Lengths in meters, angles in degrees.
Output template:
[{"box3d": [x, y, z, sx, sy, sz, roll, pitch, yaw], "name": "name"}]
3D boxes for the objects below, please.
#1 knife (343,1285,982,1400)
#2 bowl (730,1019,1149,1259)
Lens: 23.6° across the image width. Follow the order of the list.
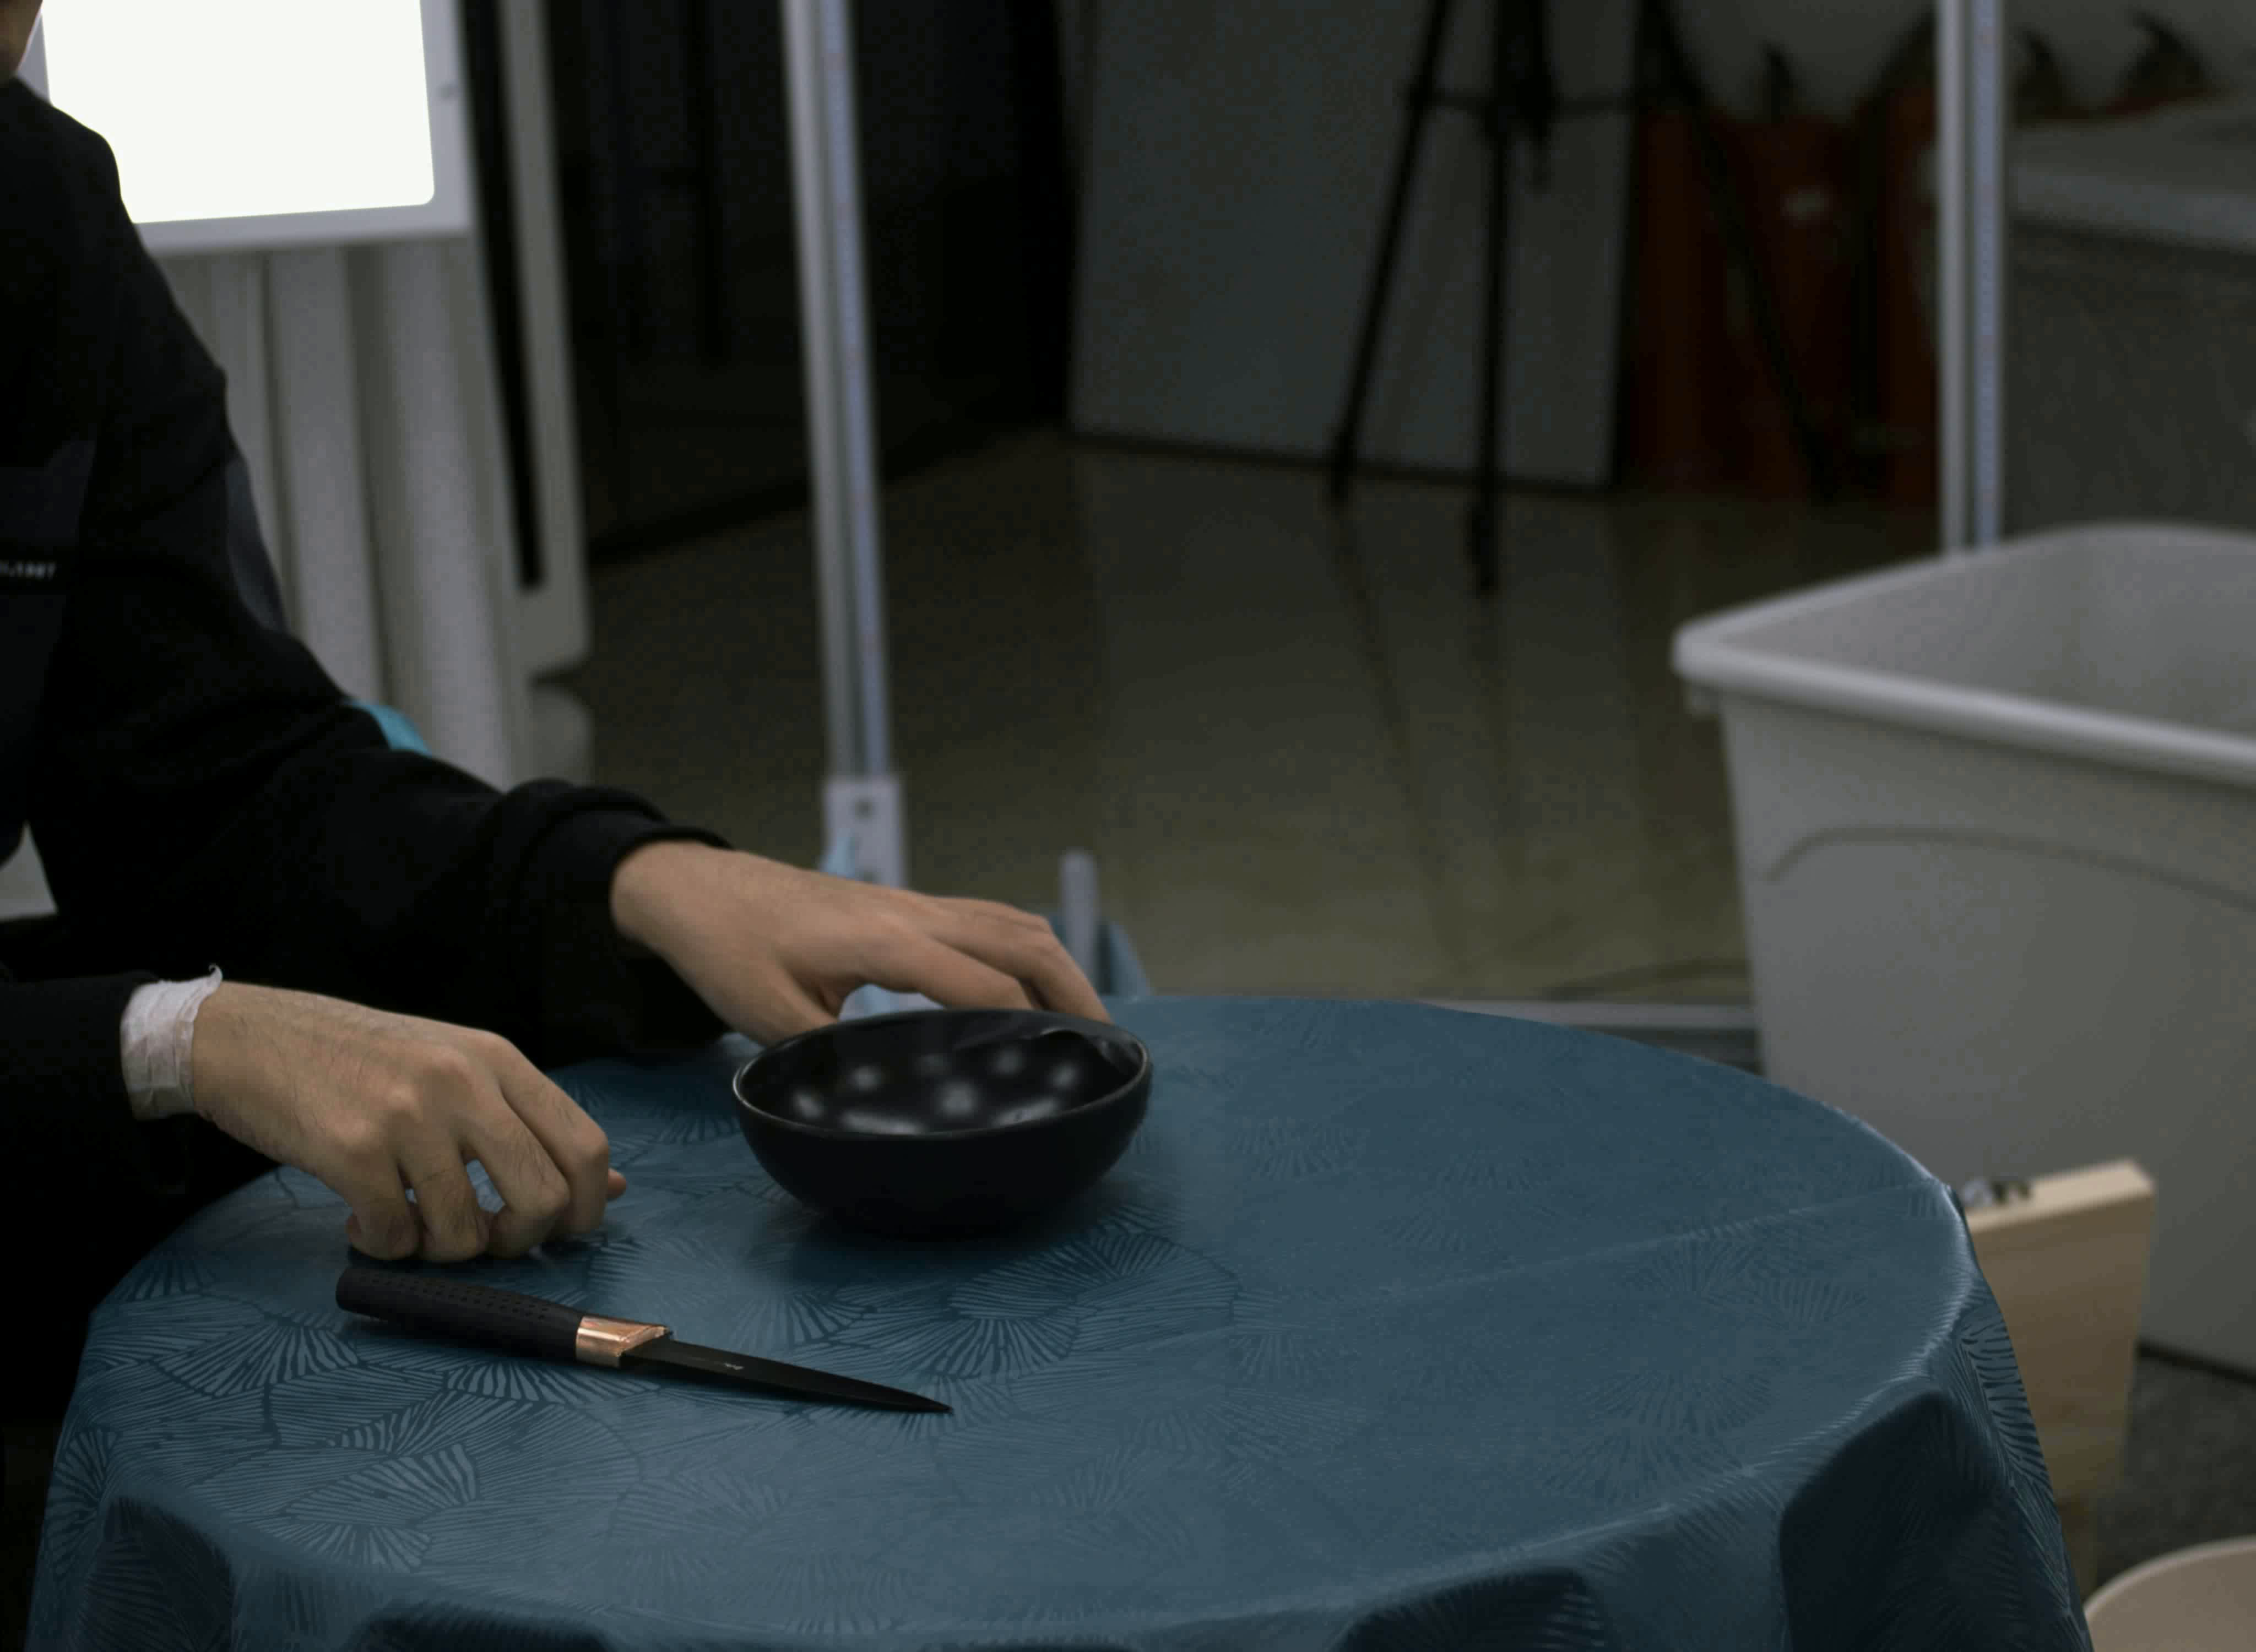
[{"box3d": [-0.143, 0.159, 1.637, 0.226, 0.017, 0.026, 5, 14, 30], "name": "knife"}, {"box3d": [-0.058, 0.106, 1.758, 0.138, 0.050, 0.140, -8, 13, 1], "name": "bowl"}]
